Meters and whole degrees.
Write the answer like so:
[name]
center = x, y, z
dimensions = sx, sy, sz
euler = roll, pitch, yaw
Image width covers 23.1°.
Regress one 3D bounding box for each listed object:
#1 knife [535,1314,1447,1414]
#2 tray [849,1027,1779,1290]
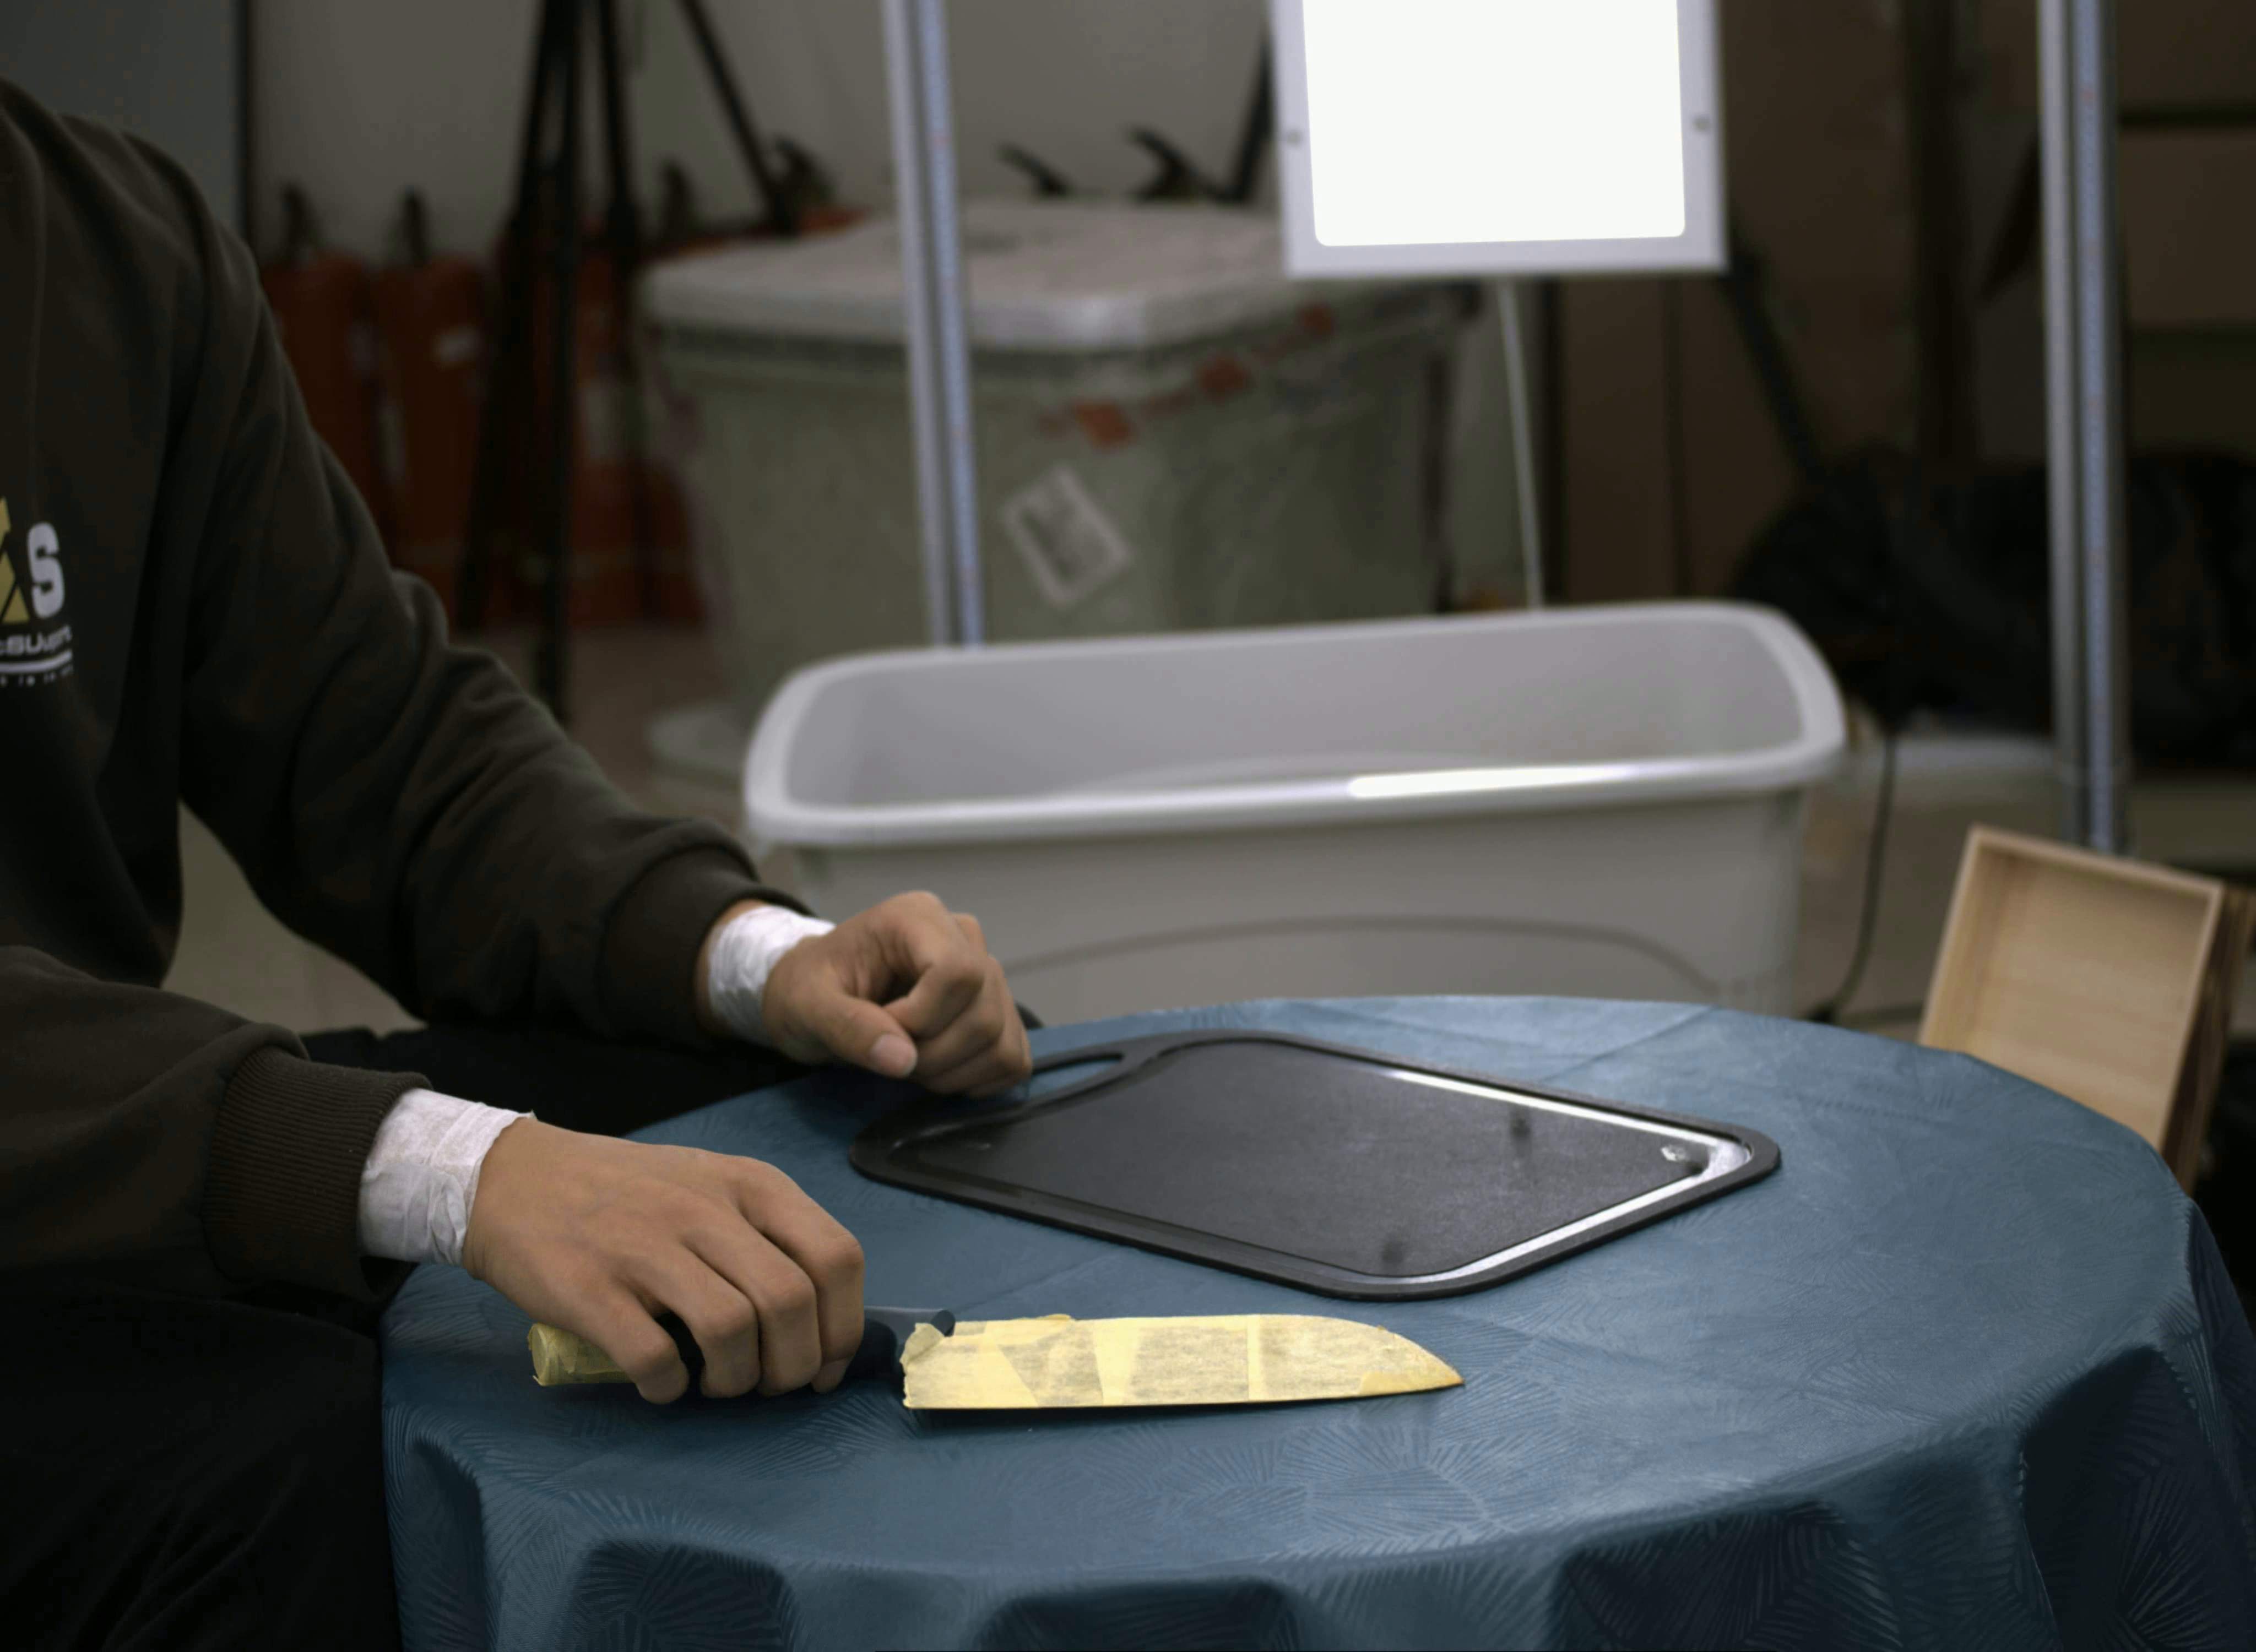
[knife]
center = -0.044, 0.169, 1.716
dimensions = 0.290, 0.027, 0.080
euler = -3, 13, 7
[tray]
center = 0.055, 0.111, 1.930
dimensions = 0.206, 0.010, 0.332
euler = -17, 18, -39
